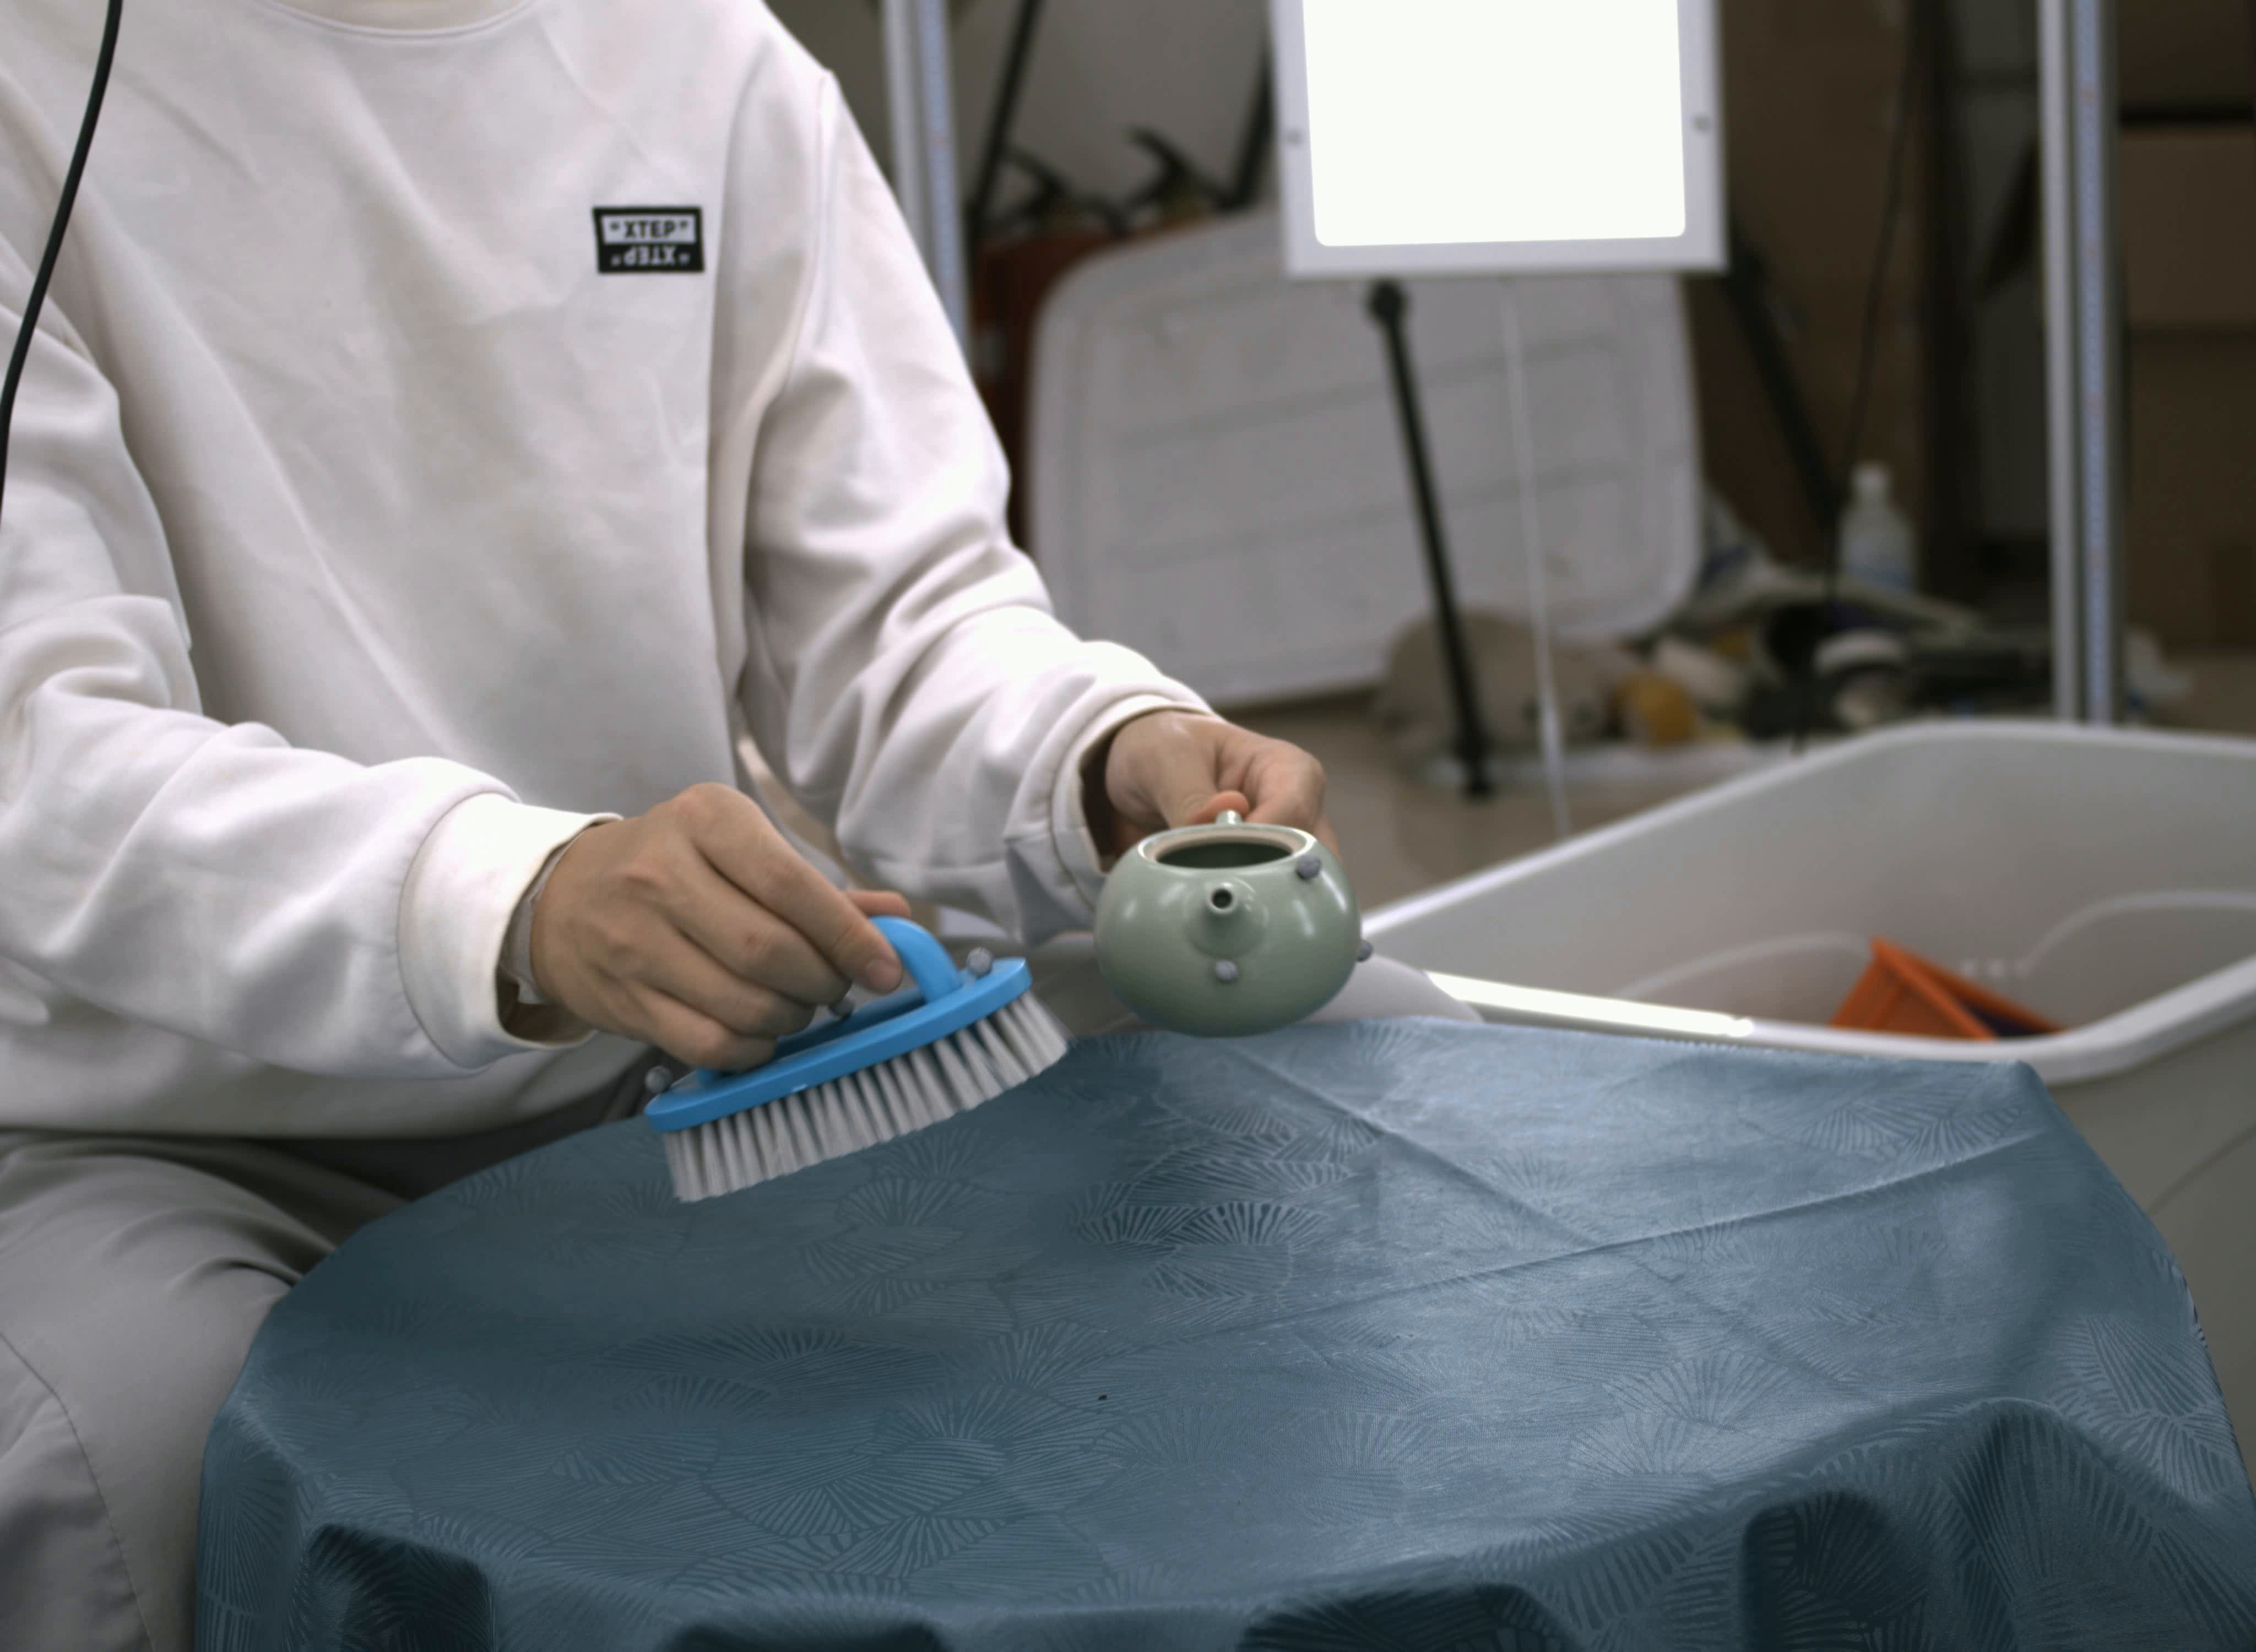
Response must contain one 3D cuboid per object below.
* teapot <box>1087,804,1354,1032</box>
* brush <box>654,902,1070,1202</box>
[{"bbox_3d":[0.033,0.031,1.879,0.092,0.061,0.127,-3,14,9],"label":"teapot"},{"bbox_3d":[-0.092,0.064,1.751,0.144,0.064,0.083,-23,12,24],"label":"brush"}]
